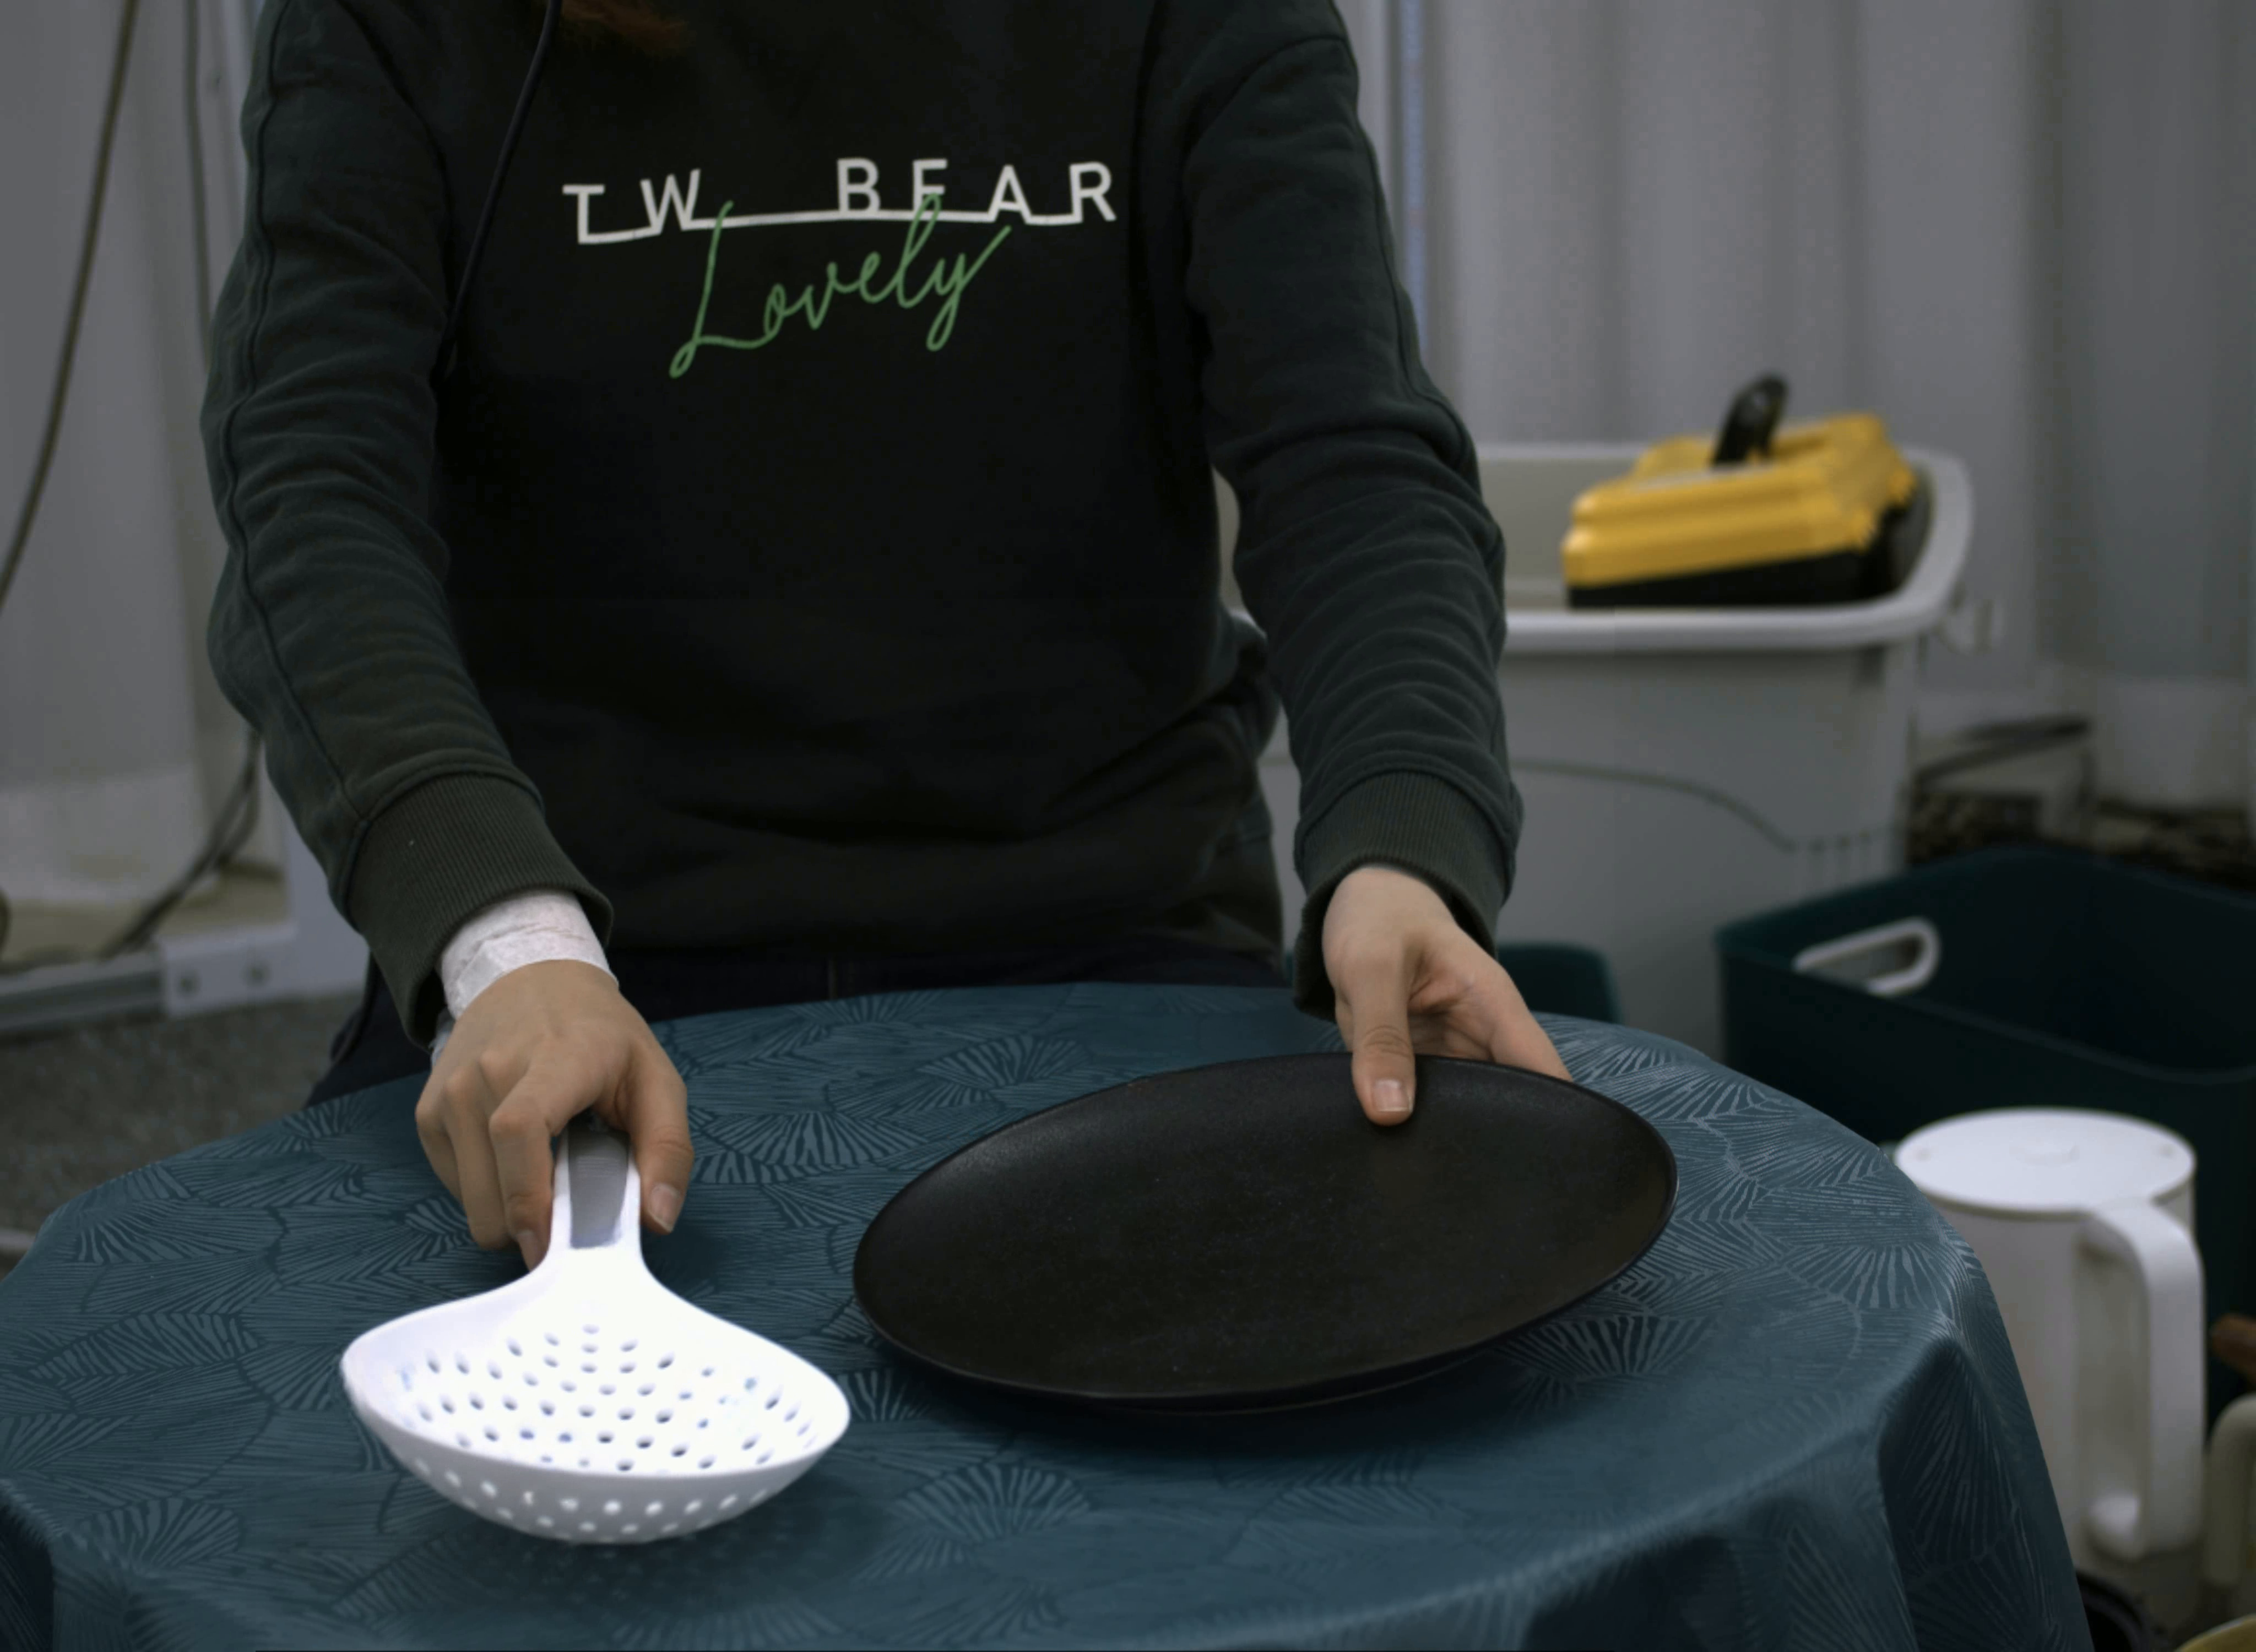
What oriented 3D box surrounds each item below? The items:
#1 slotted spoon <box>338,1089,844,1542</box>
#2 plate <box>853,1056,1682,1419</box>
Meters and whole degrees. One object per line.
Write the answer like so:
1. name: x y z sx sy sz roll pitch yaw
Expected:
1. slotted spoon: -0.153 0.131 1.563 0.135 0.045 0.353 7 17 -6
2. plate: 0.041 0.123 1.597 0.243 0.023 0.246 -7 19 2
